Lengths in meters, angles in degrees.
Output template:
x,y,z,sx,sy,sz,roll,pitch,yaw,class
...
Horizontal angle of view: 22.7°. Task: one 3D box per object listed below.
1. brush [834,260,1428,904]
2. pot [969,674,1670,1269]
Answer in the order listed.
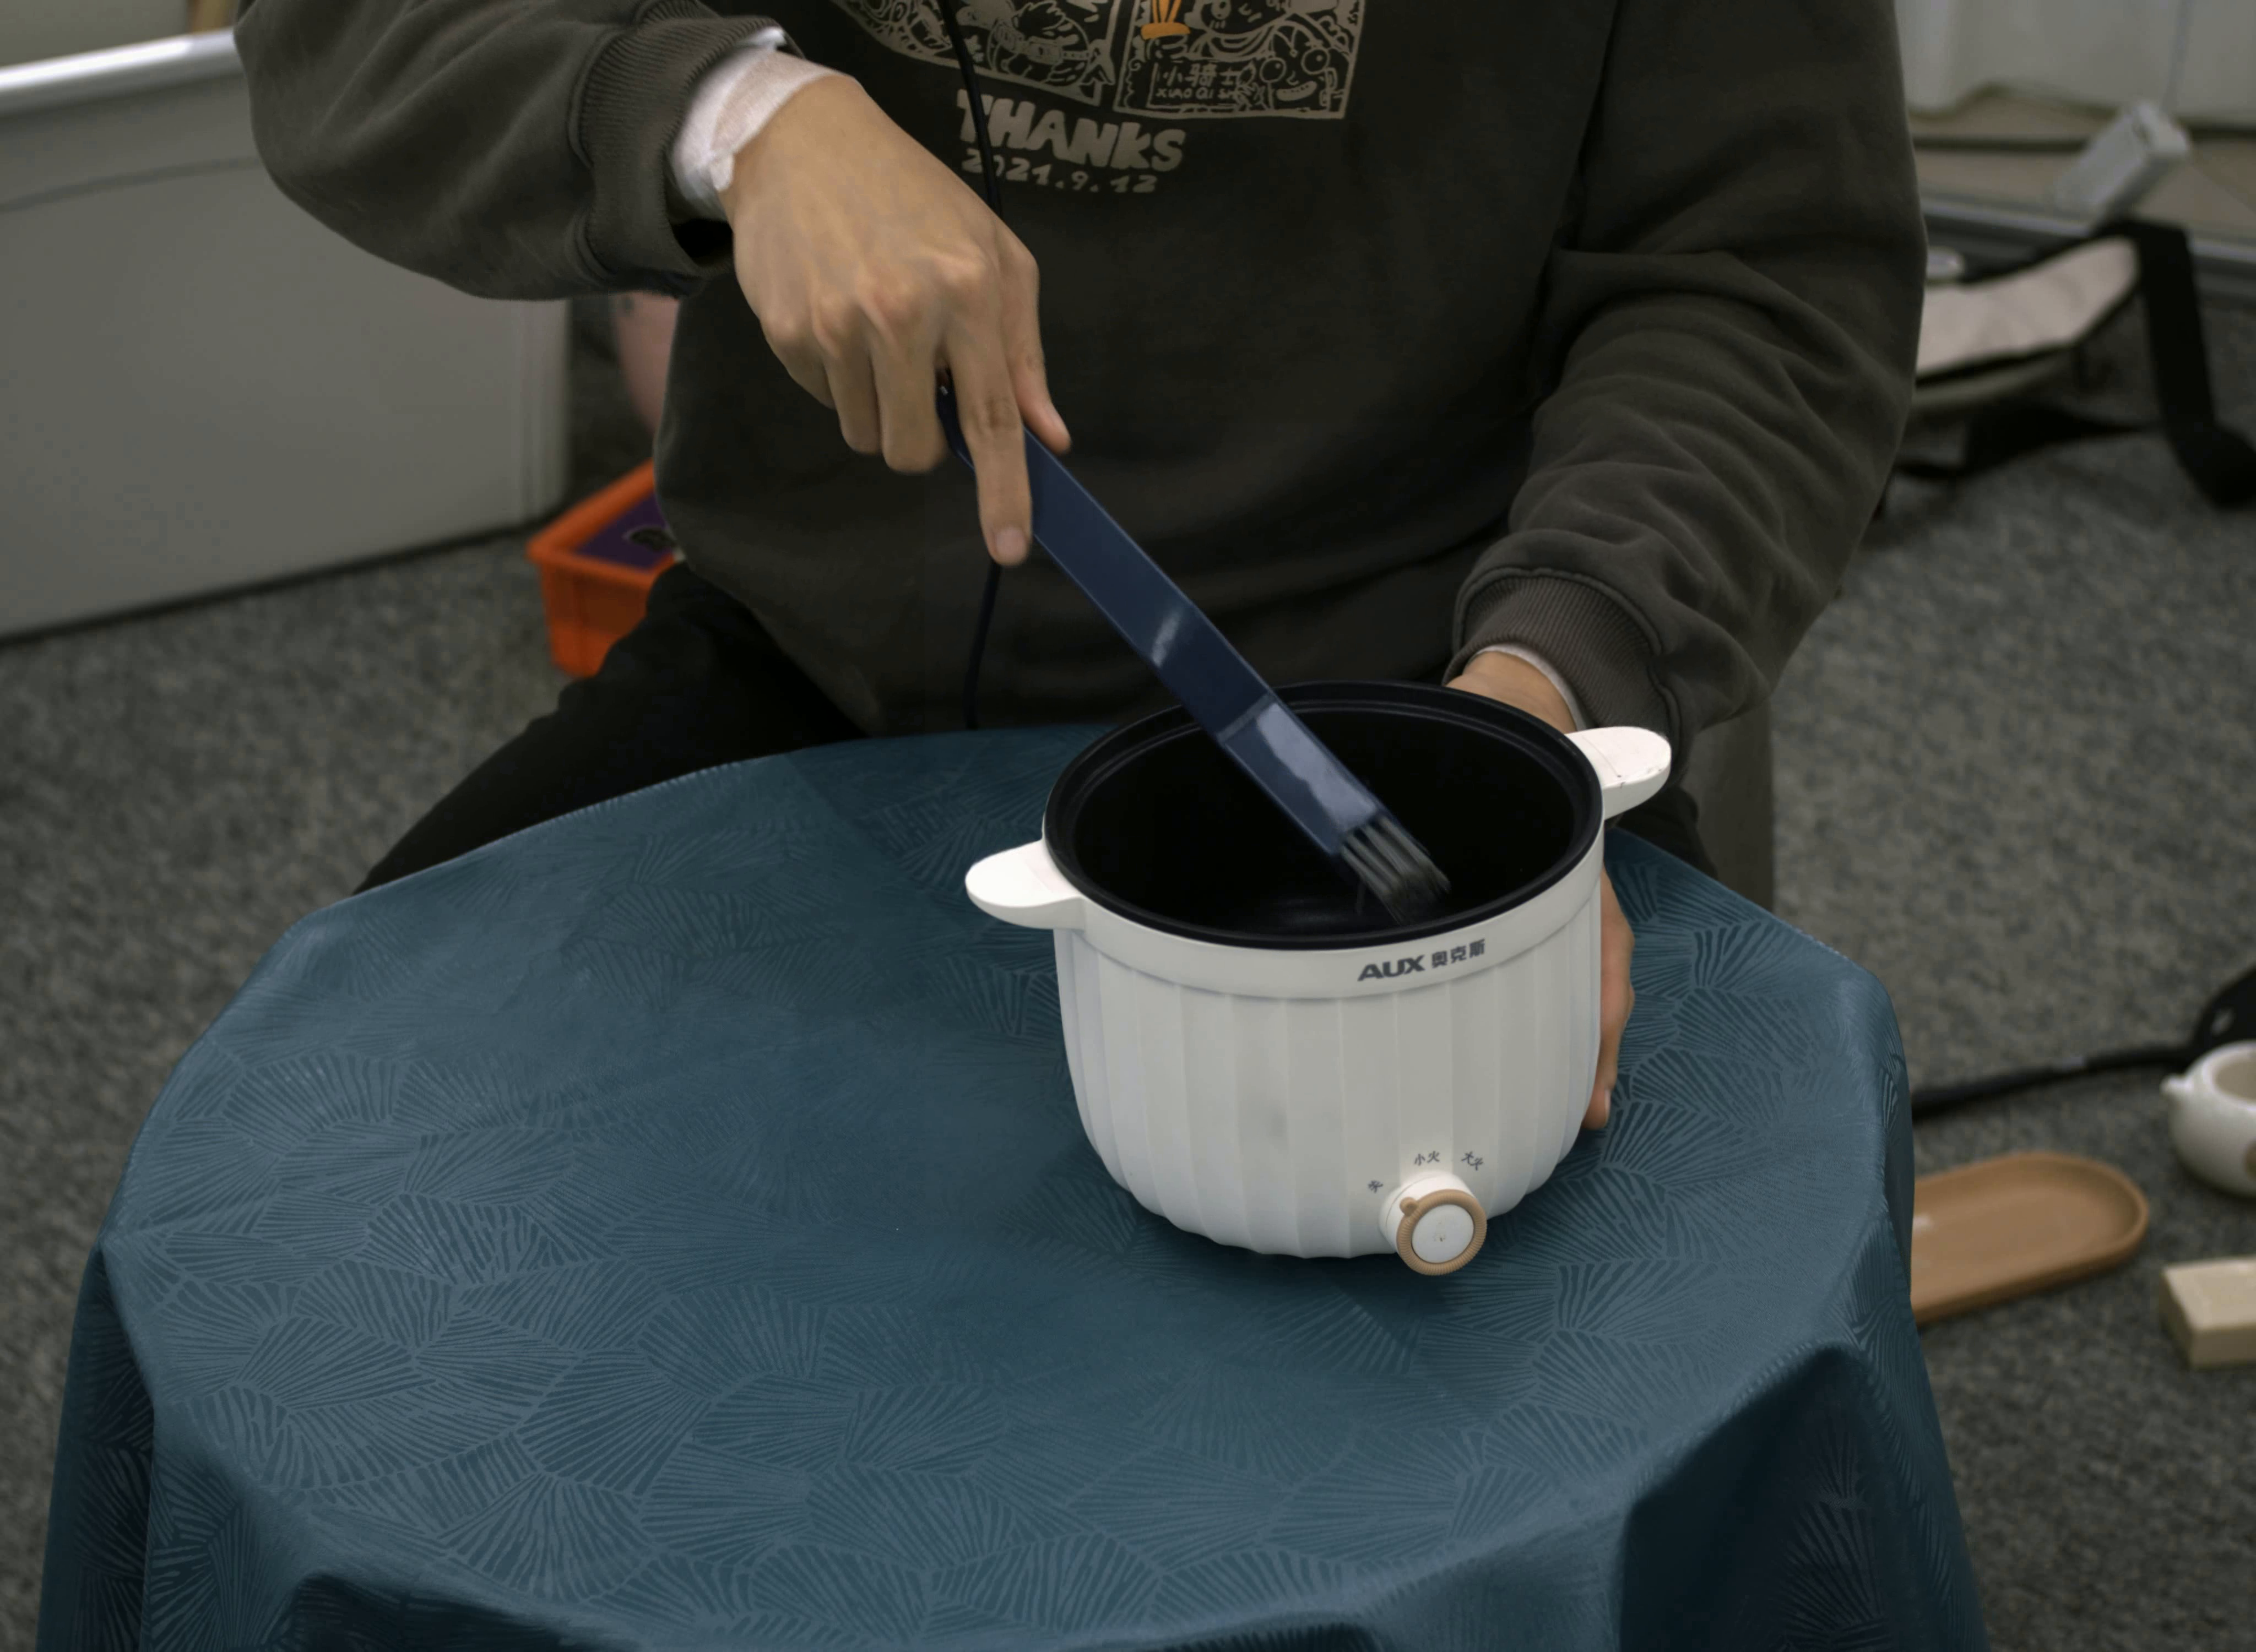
x,y,z,sx,sy,sz,roll,pitch,yaw,class
0.003,-0.076,1.845,0.033,0.273,0.096,-42,0,1,brush
0.070,0.052,1.837,0.241,0.141,0.192,-13,25,-15,pot
